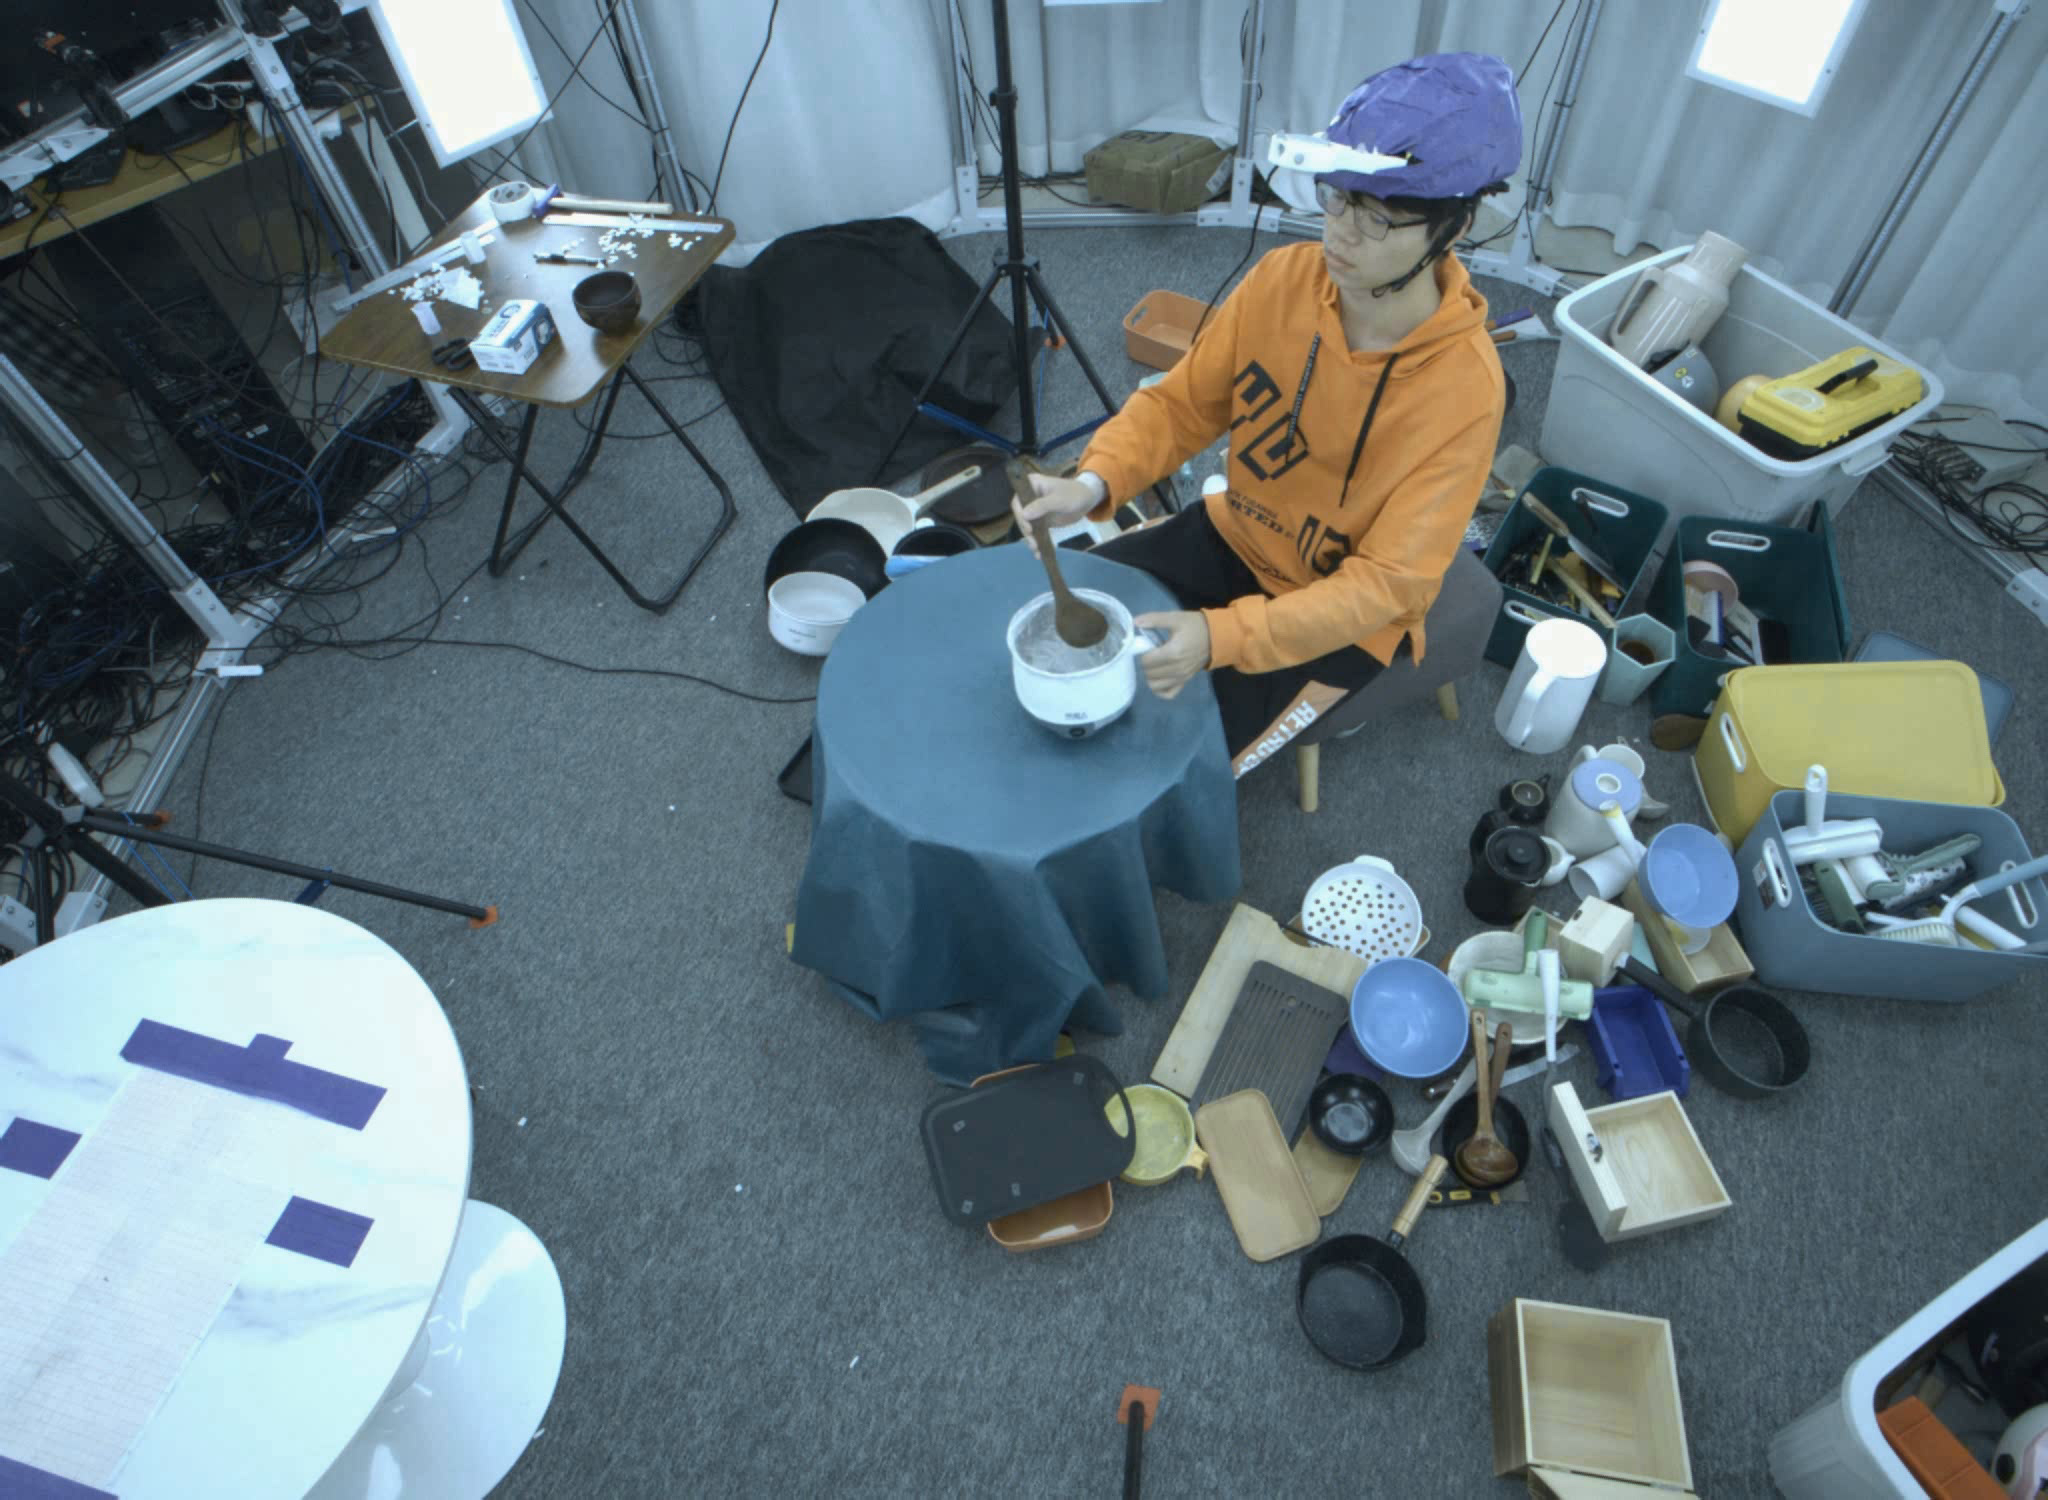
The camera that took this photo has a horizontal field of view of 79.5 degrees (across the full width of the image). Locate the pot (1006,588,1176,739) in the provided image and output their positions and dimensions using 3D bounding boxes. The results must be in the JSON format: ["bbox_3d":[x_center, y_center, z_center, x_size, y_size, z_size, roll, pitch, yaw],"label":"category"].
[{"bbox_3d":[0.098,-0.126,1.750,0.233,0.138,0.176,-5,51,4],"label":"pot"}]

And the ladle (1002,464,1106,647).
[{"bbox_3d":[0.038,-0.273,1.699,0.077,0.070,0.276,-25,102,-23],"label":"ladle"}]
